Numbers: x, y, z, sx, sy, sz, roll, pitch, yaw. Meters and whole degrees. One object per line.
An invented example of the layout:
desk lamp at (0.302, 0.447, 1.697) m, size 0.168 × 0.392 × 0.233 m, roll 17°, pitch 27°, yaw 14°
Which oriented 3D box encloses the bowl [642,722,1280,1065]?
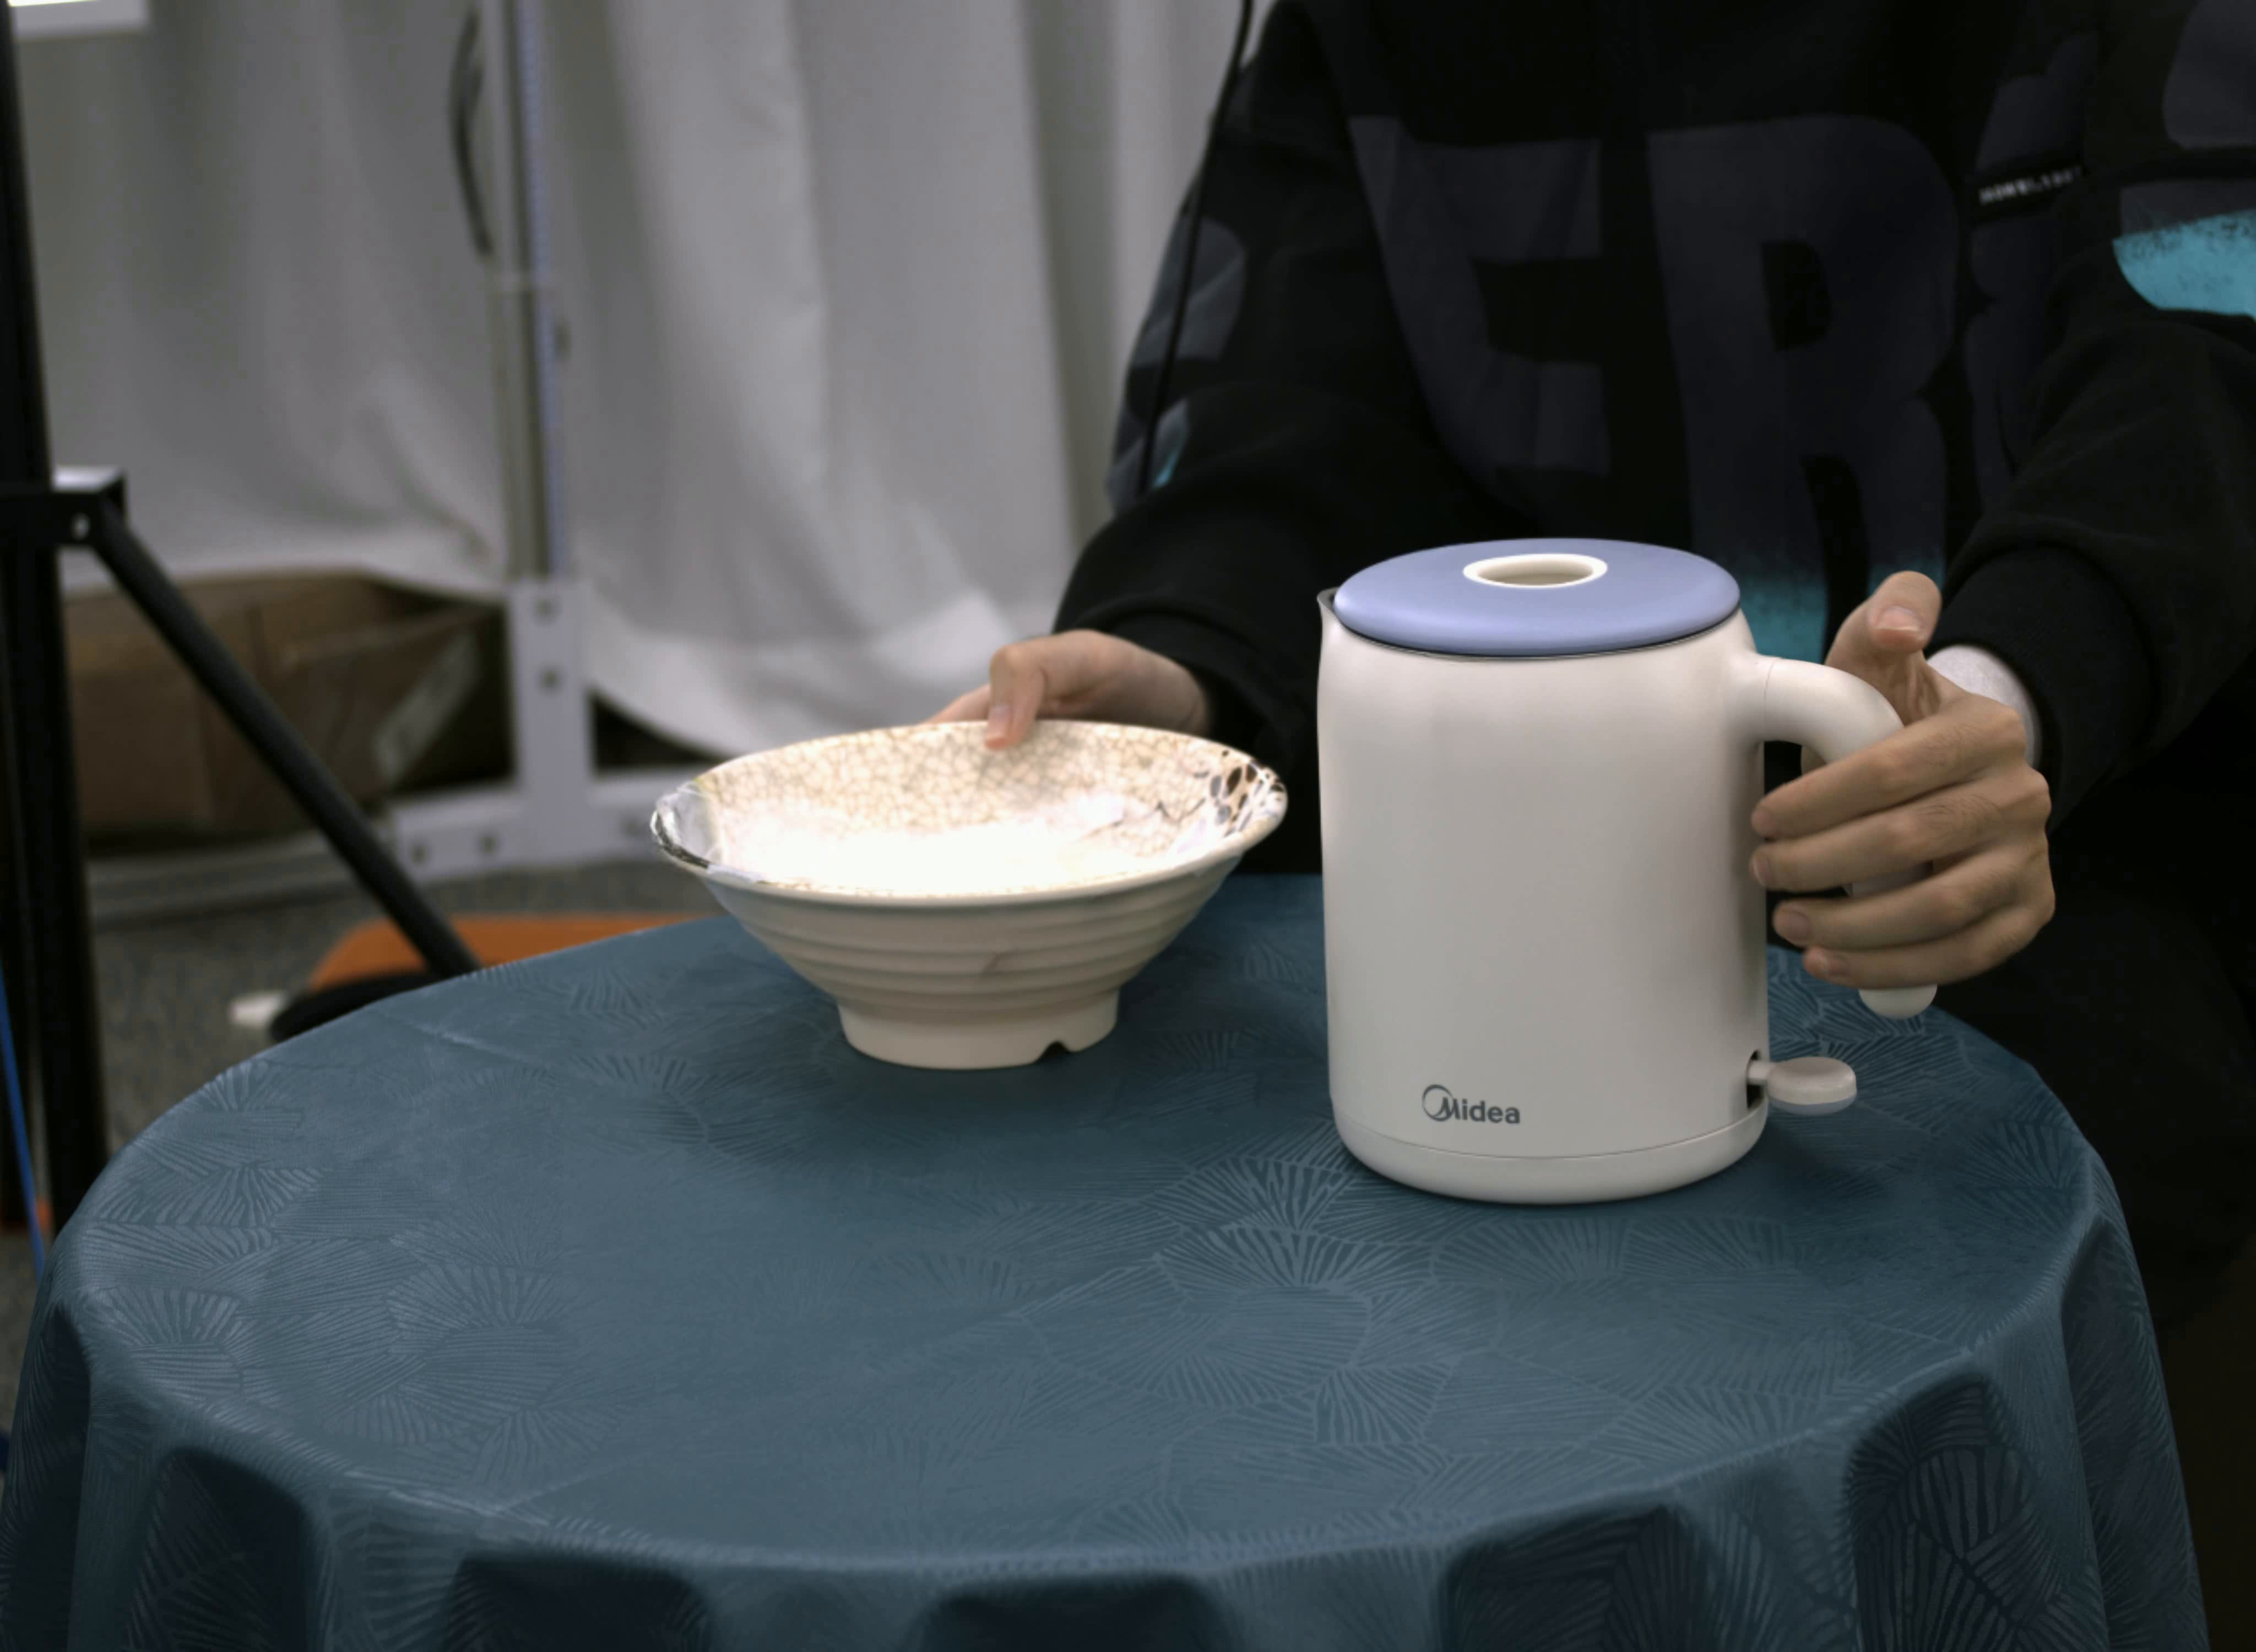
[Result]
bowl at (-0.053, 0.027, 1.704) m, size 0.203 × 0.078 × 0.205 m, roll -1°, pitch 14°, yaw -1°

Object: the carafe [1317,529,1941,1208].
carafe at (0.145, 0.015, 1.551) m, size 0.194 × 0.182 × 0.130 m, roll 7°, pitch 19°, yaw 24°
